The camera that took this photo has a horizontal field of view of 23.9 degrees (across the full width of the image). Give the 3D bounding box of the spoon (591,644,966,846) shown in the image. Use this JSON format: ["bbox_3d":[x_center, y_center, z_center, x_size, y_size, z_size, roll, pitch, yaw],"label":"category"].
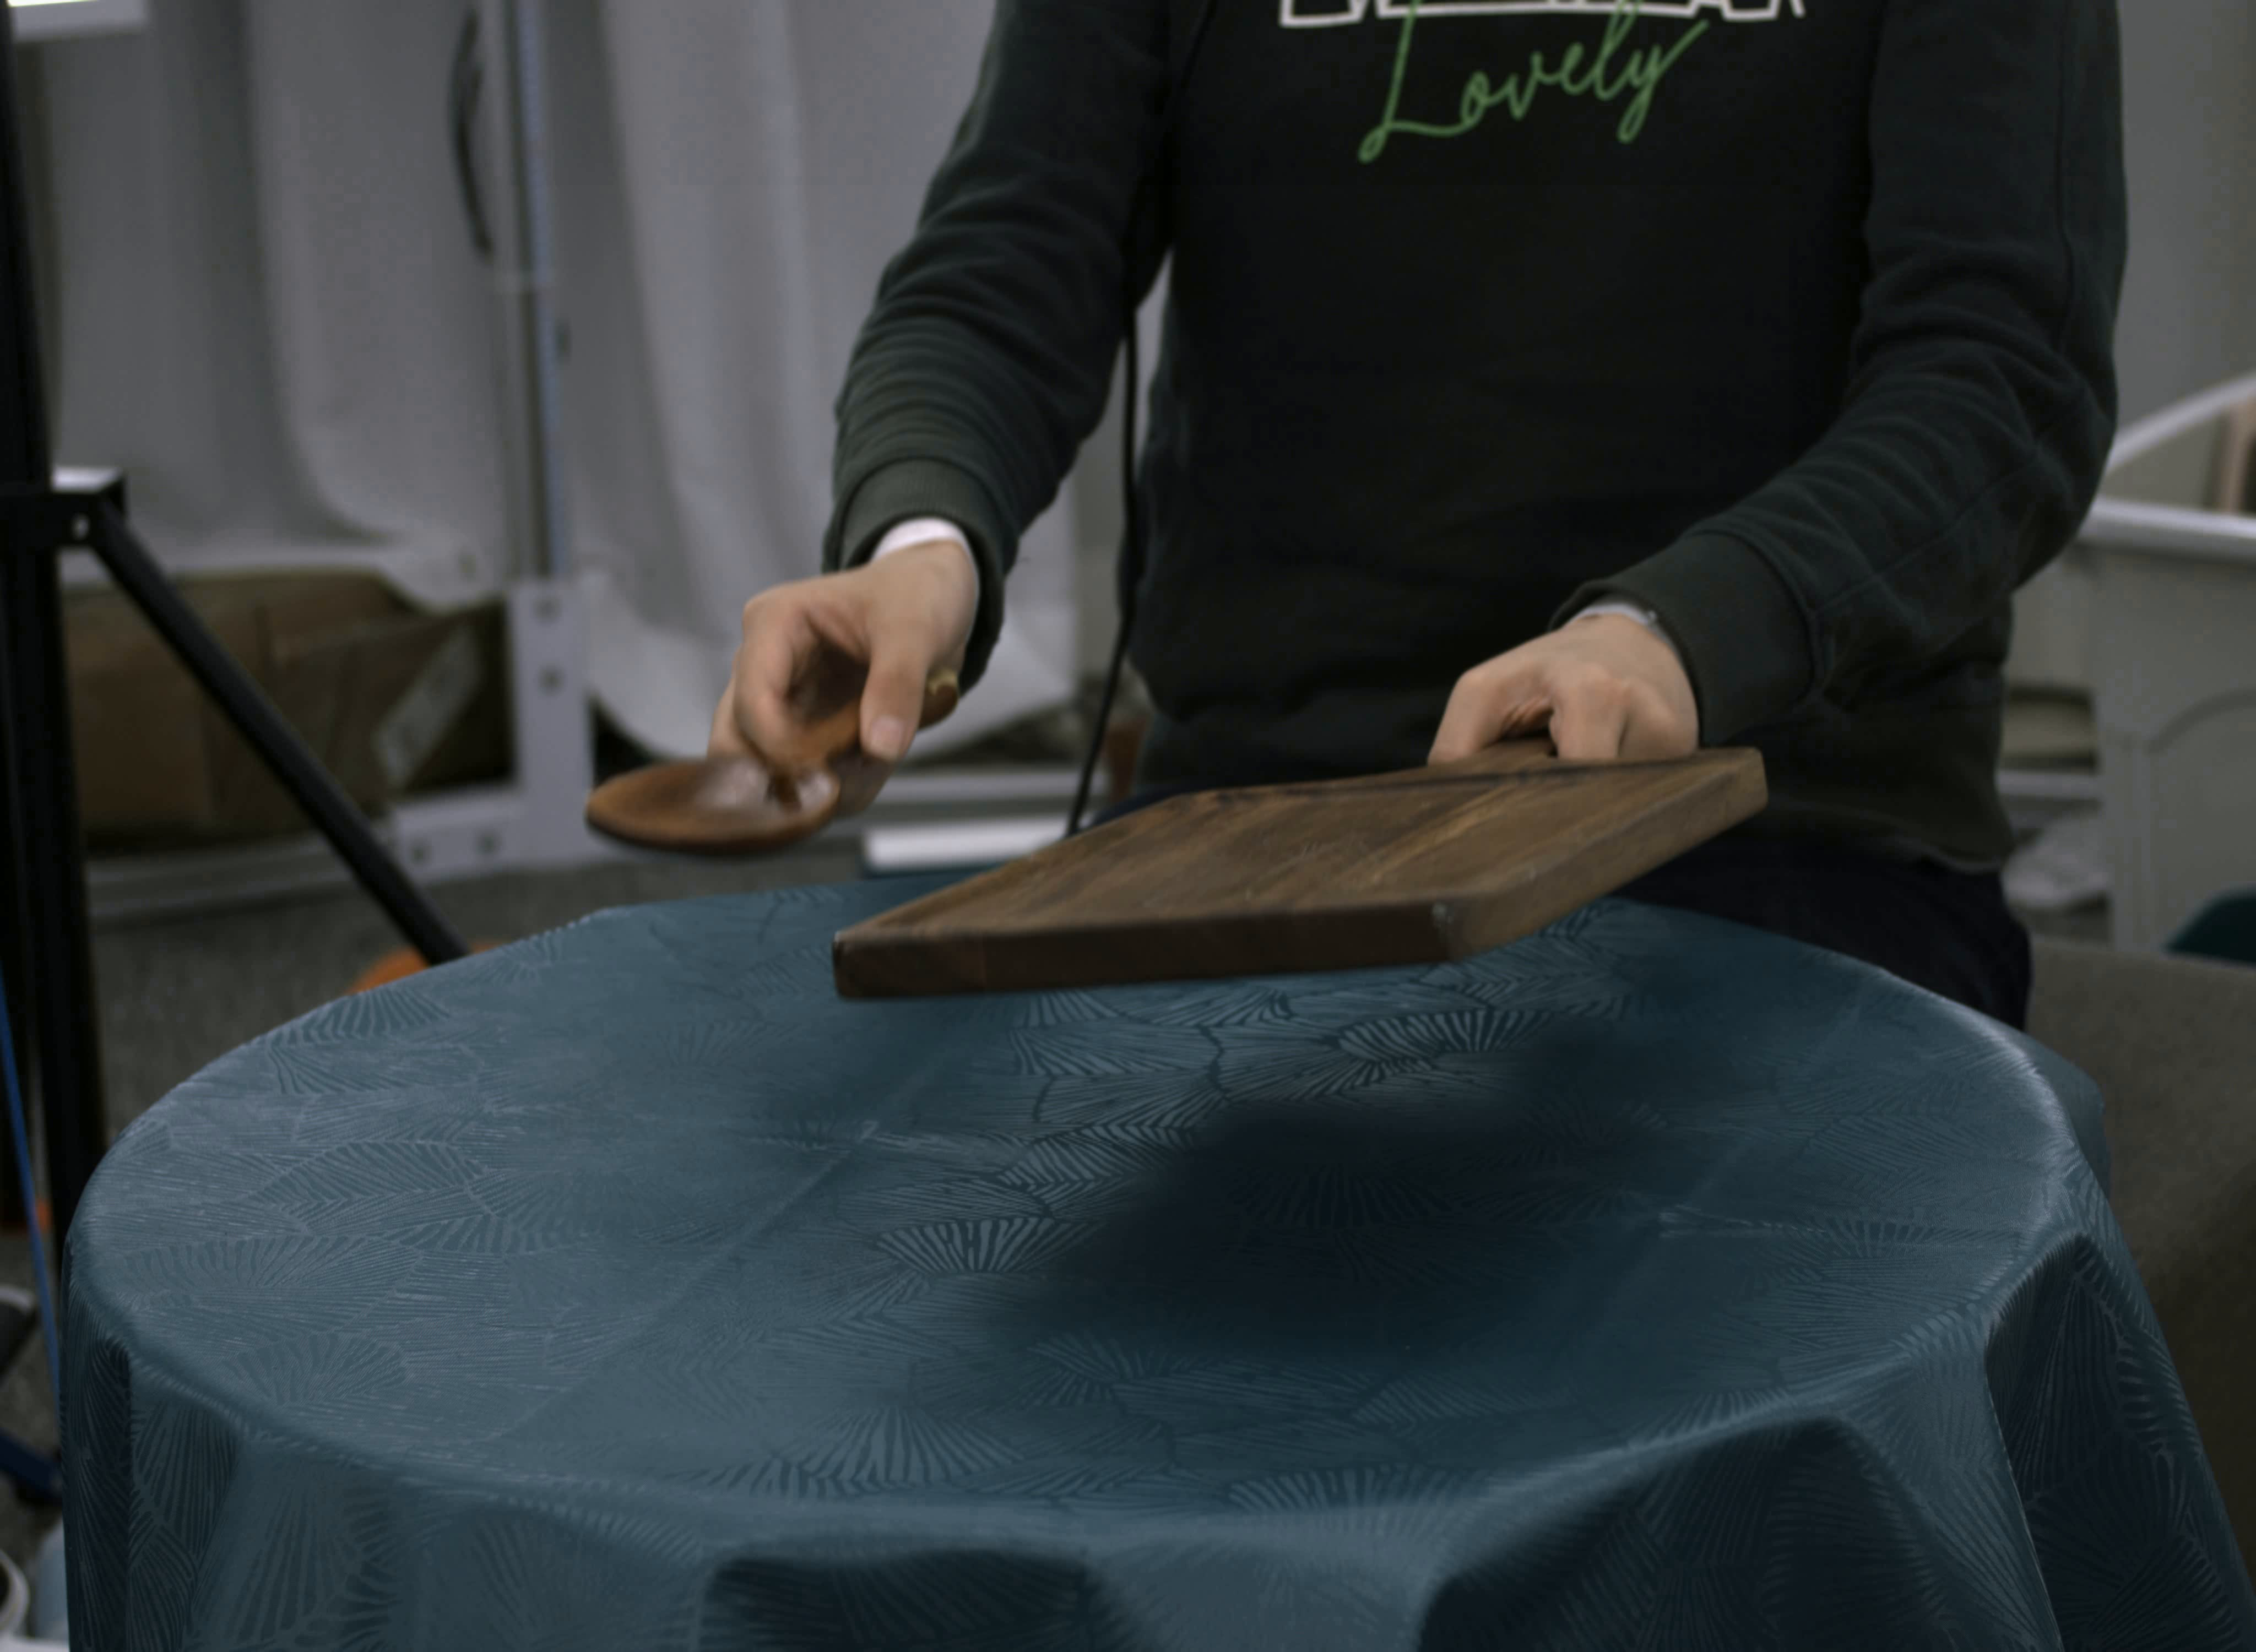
[{"bbox_3d":[-0.099,-0.024,1.658,0.076,0.017,0.213,5,17,21],"label":"spoon"}]

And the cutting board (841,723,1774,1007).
[{"bbox_3d":[0.077,0.005,1.558,0.204,0.023,0.346,-6,6,26],"label":"cutting board"}]
